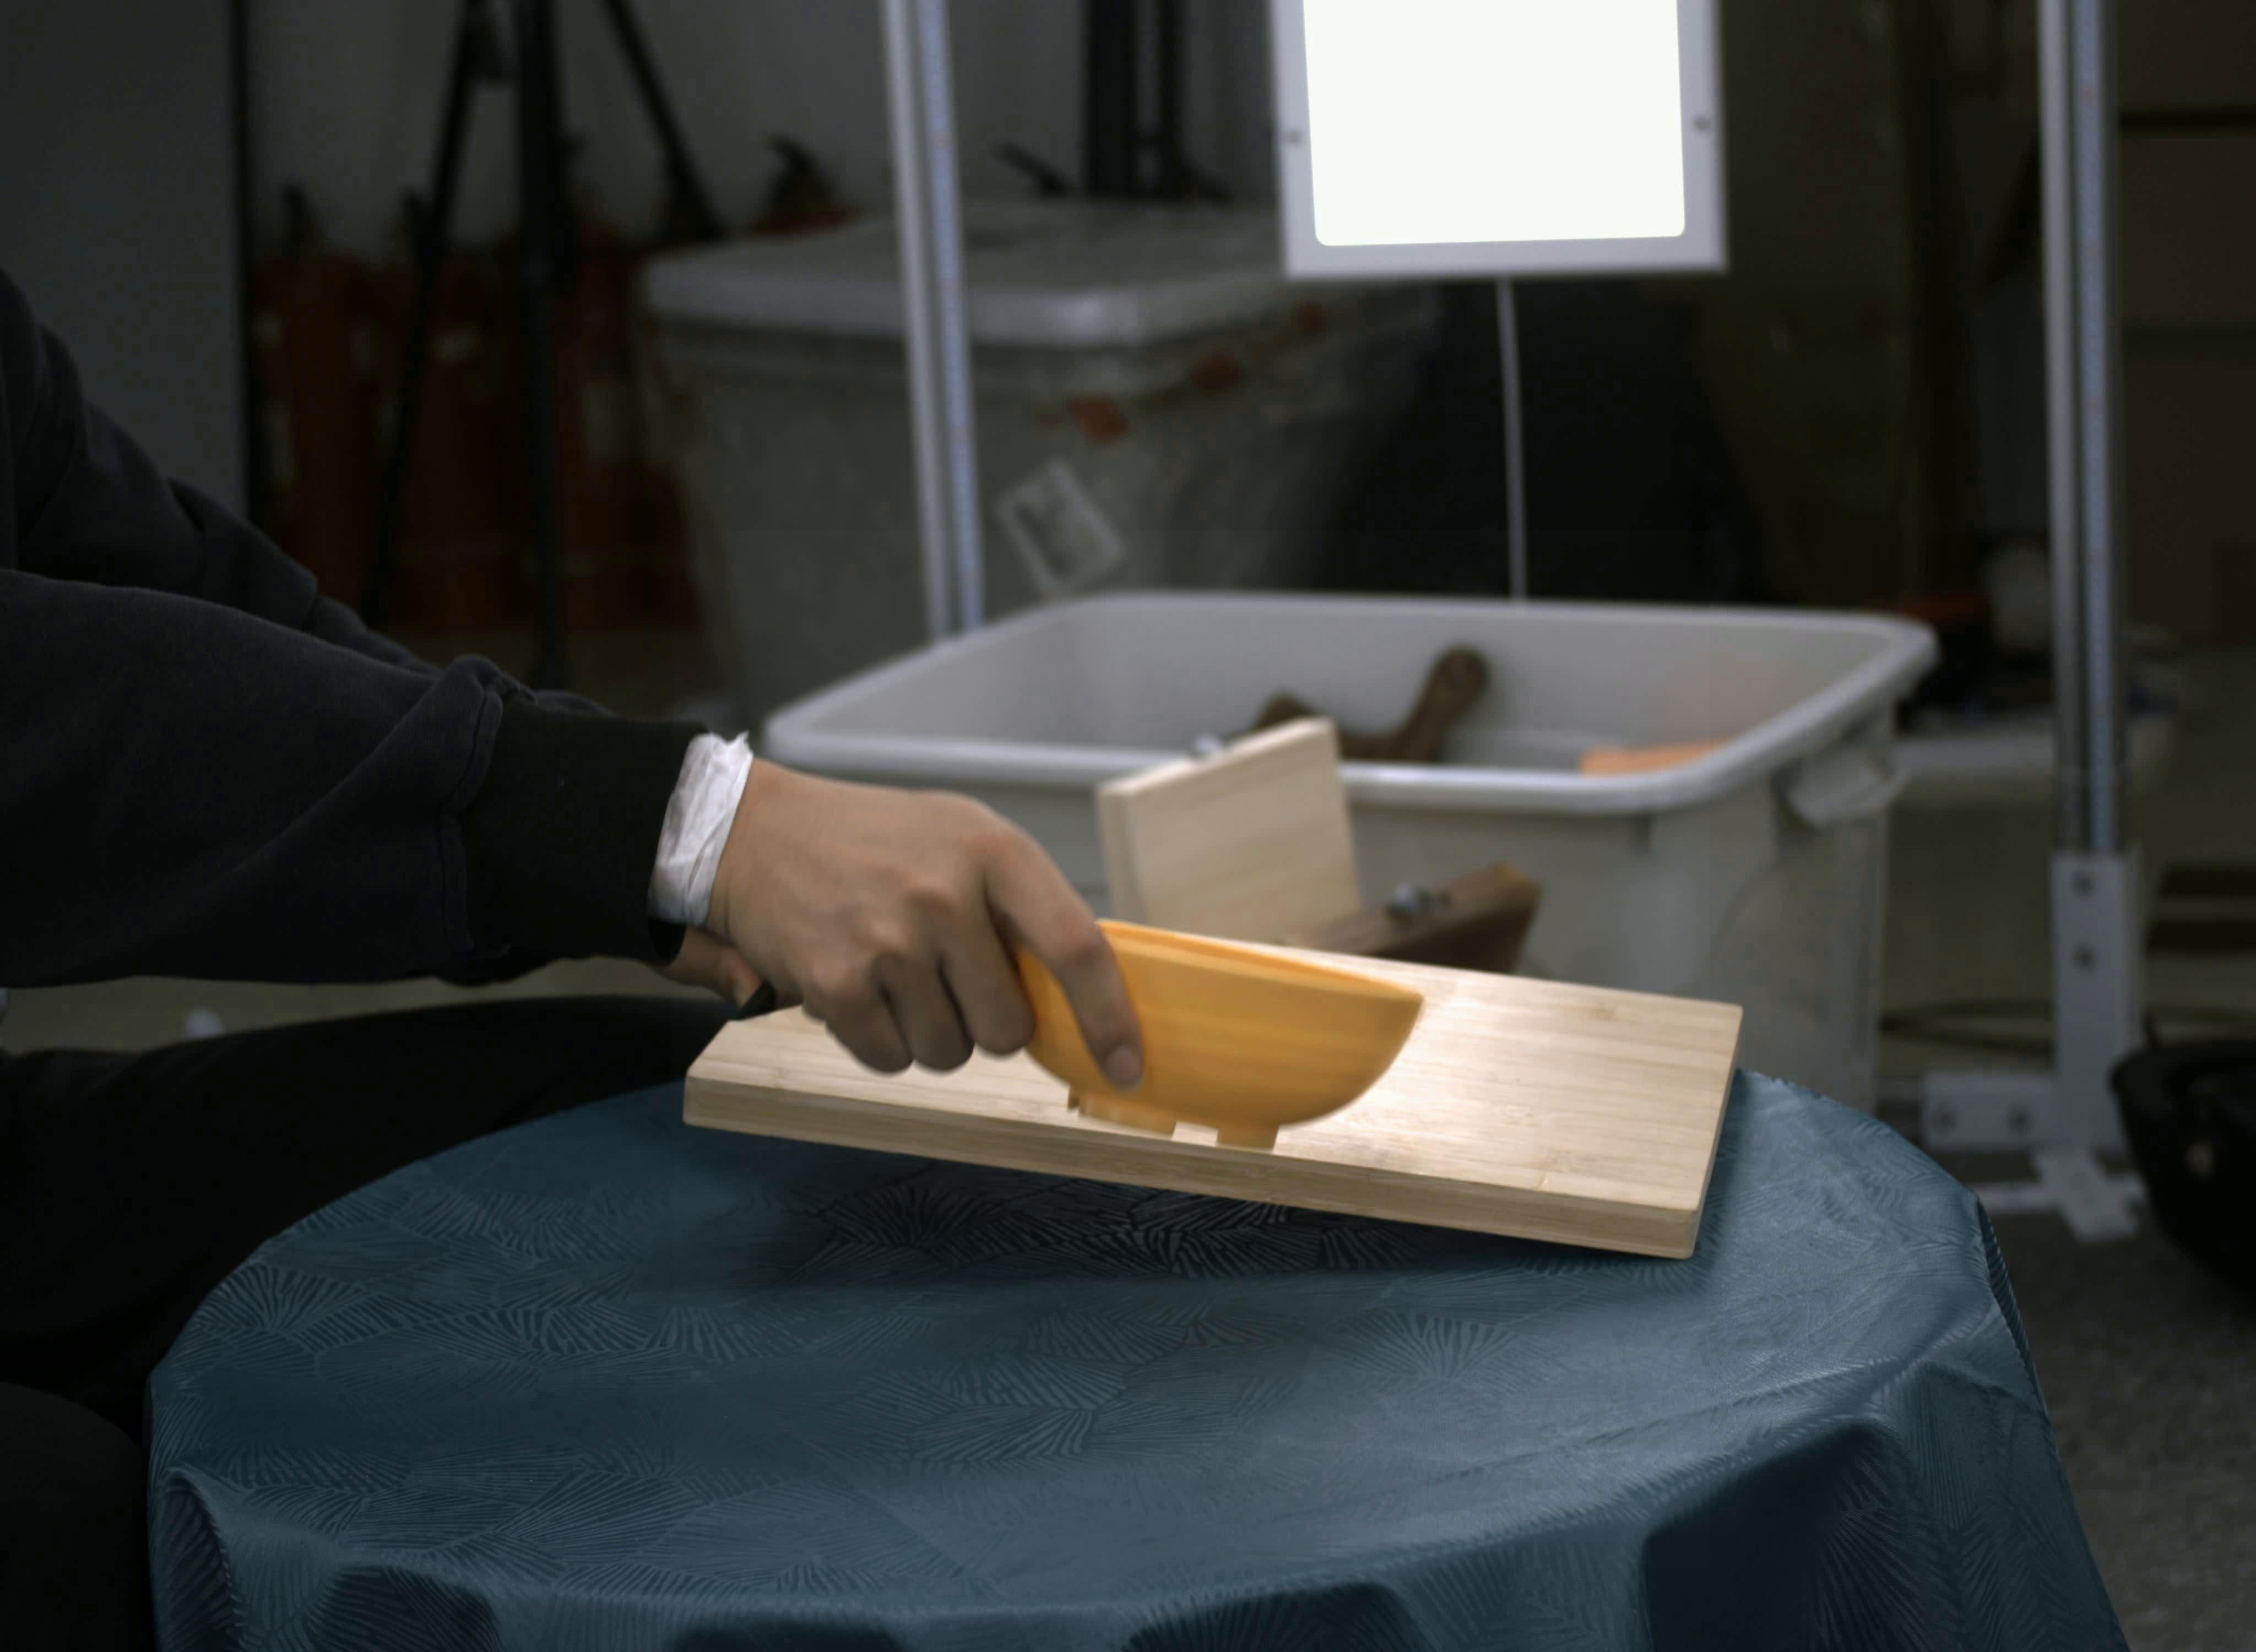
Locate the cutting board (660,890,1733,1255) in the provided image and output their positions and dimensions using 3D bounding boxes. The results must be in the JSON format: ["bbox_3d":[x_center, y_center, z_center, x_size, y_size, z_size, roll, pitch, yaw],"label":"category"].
[{"bbox_3d":[0.032,0.082,1.919,0.350,0.024,0.248,7,15,9],"label":"cutting board"}]

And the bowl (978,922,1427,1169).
[{"bbox_3d":[0.018,0.072,1.719,0.145,0.060,0.145,10,0,-2],"label":"bowl"}]
